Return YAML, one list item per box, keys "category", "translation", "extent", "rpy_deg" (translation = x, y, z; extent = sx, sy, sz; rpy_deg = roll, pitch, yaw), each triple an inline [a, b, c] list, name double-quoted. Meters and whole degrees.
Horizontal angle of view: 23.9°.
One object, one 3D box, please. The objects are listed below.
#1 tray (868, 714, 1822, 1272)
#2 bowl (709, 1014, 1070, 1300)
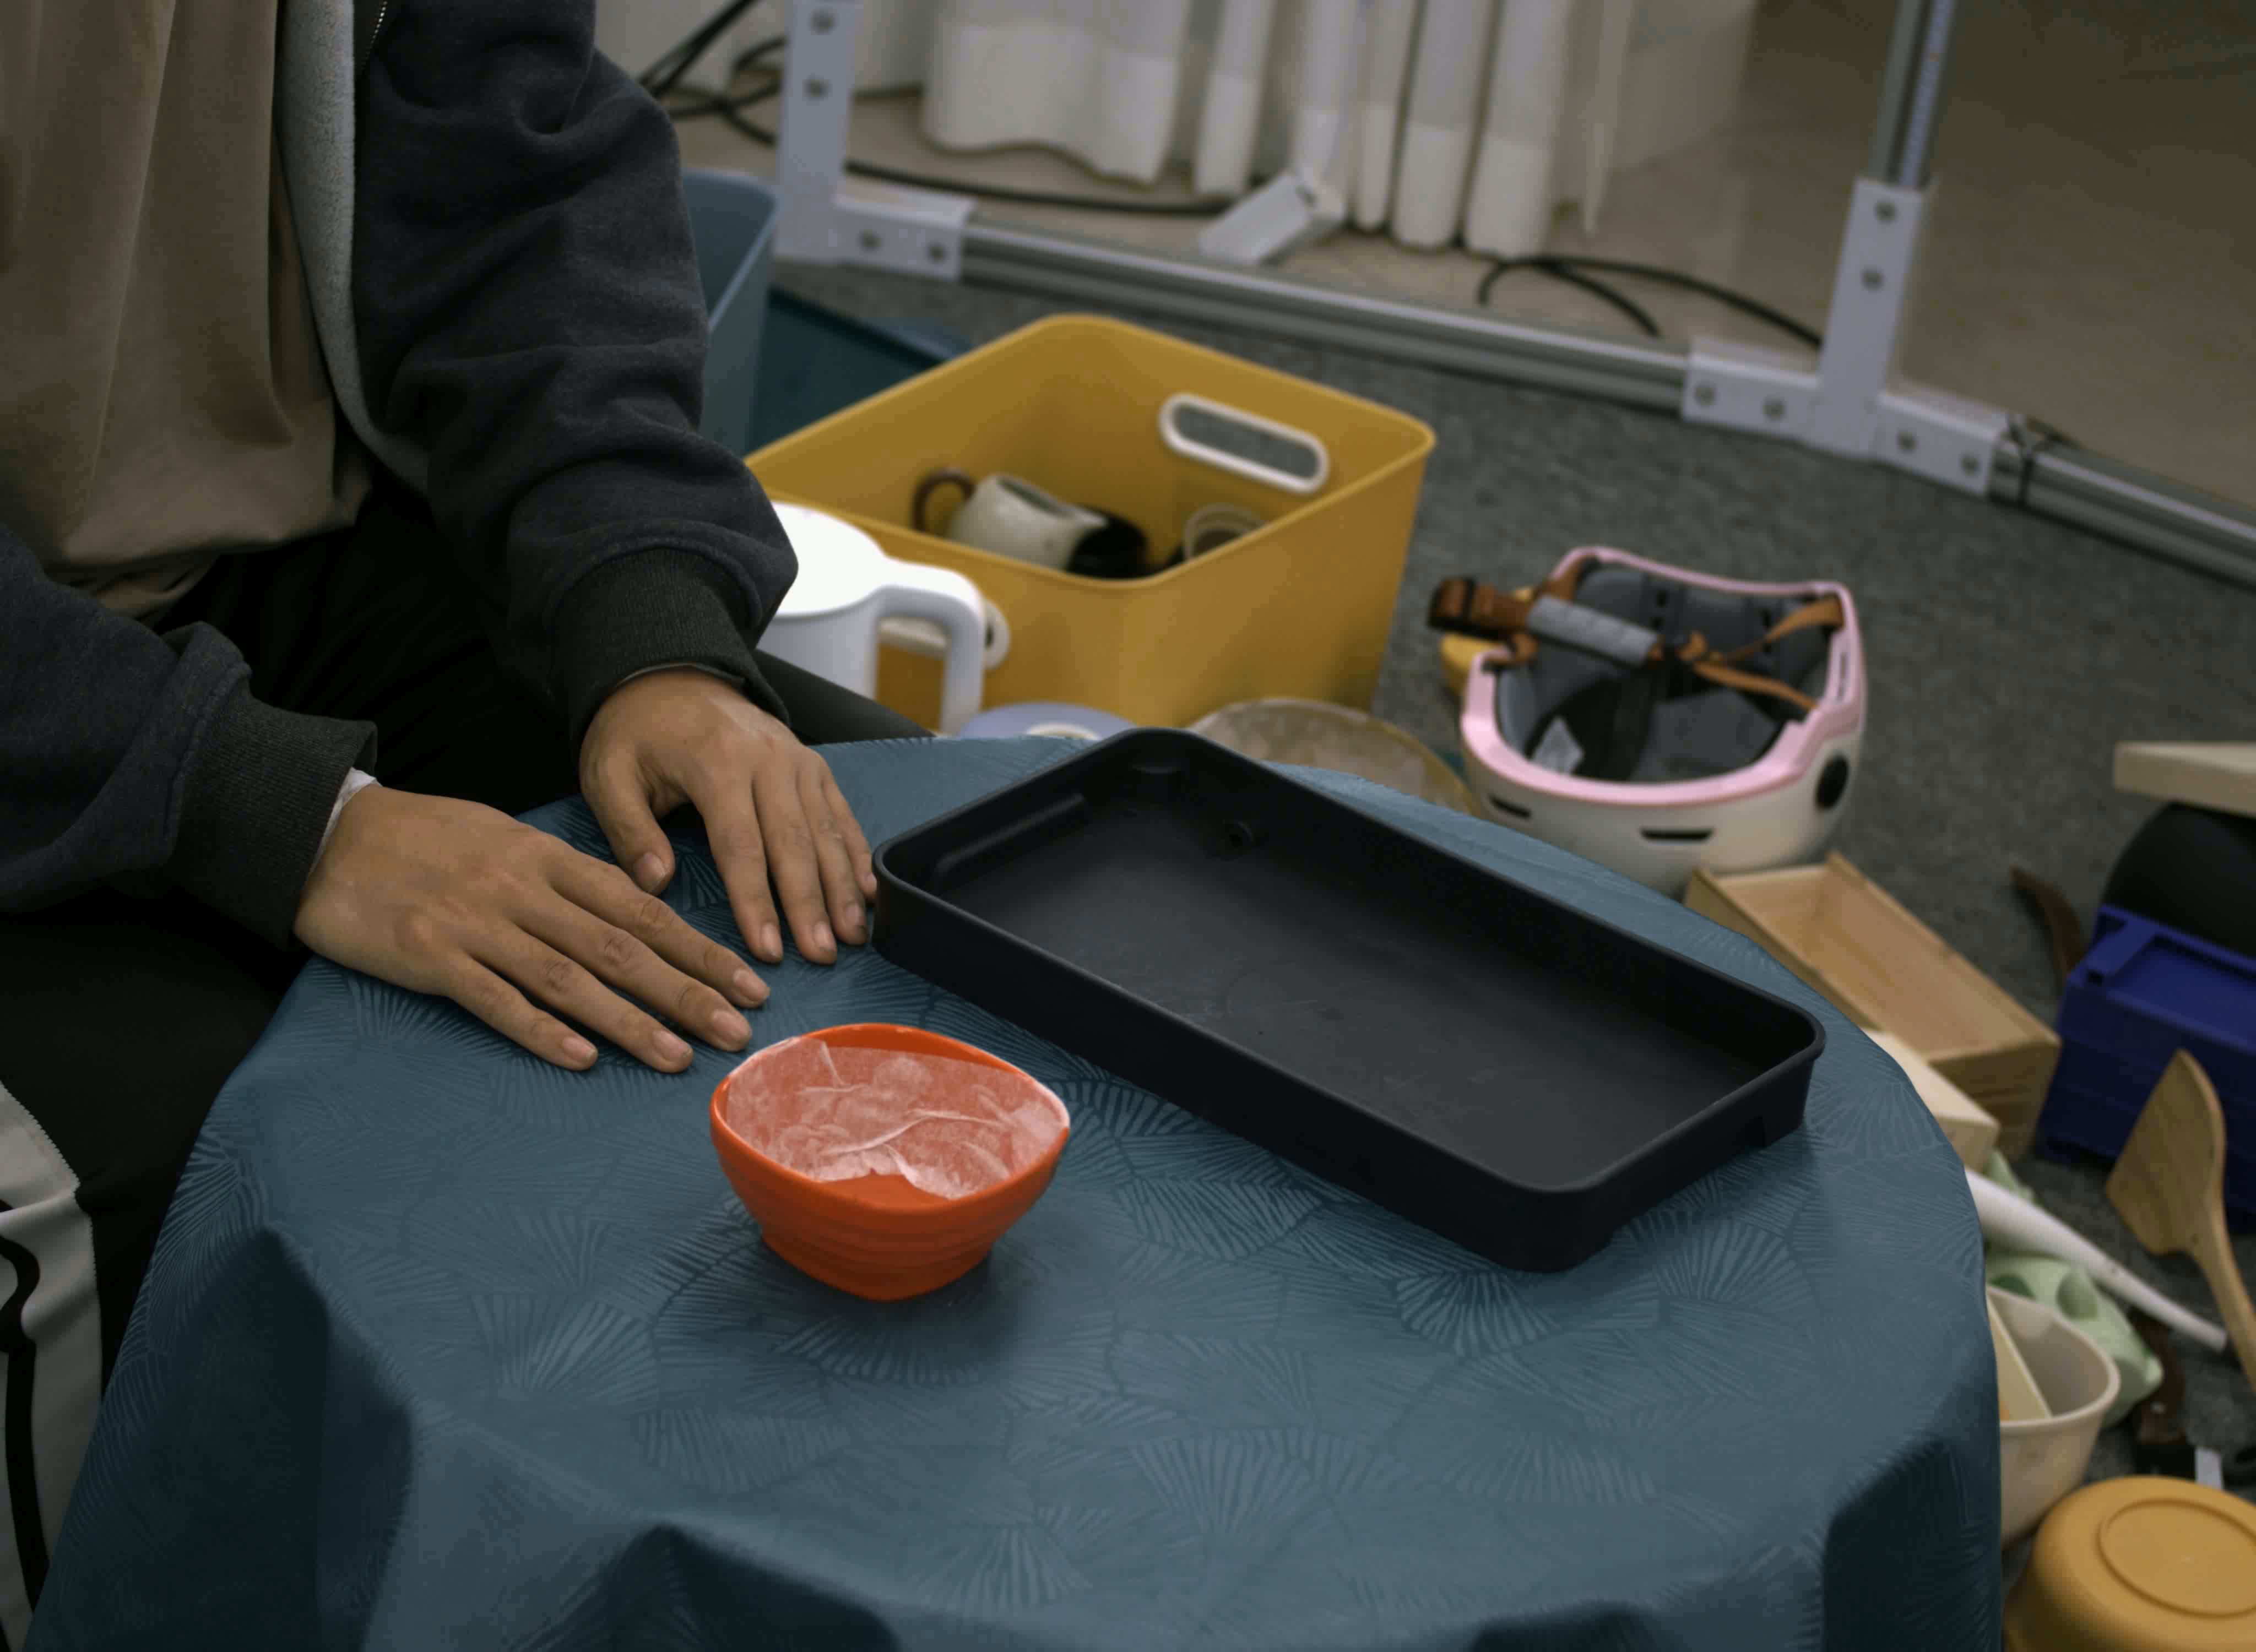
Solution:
- category: "tray"
  translation: [0.074, 0.054, 1.910]
  extent: [0.320, 0.037, 0.183]
  rpy_deg: [26, 32, 31]
- category: "bowl"
  translation: [-0.080, 0.113, 1.744]
  extent: [0.118, 0.051, 0.119]
  rpy_deg: [6, 29, -4]
